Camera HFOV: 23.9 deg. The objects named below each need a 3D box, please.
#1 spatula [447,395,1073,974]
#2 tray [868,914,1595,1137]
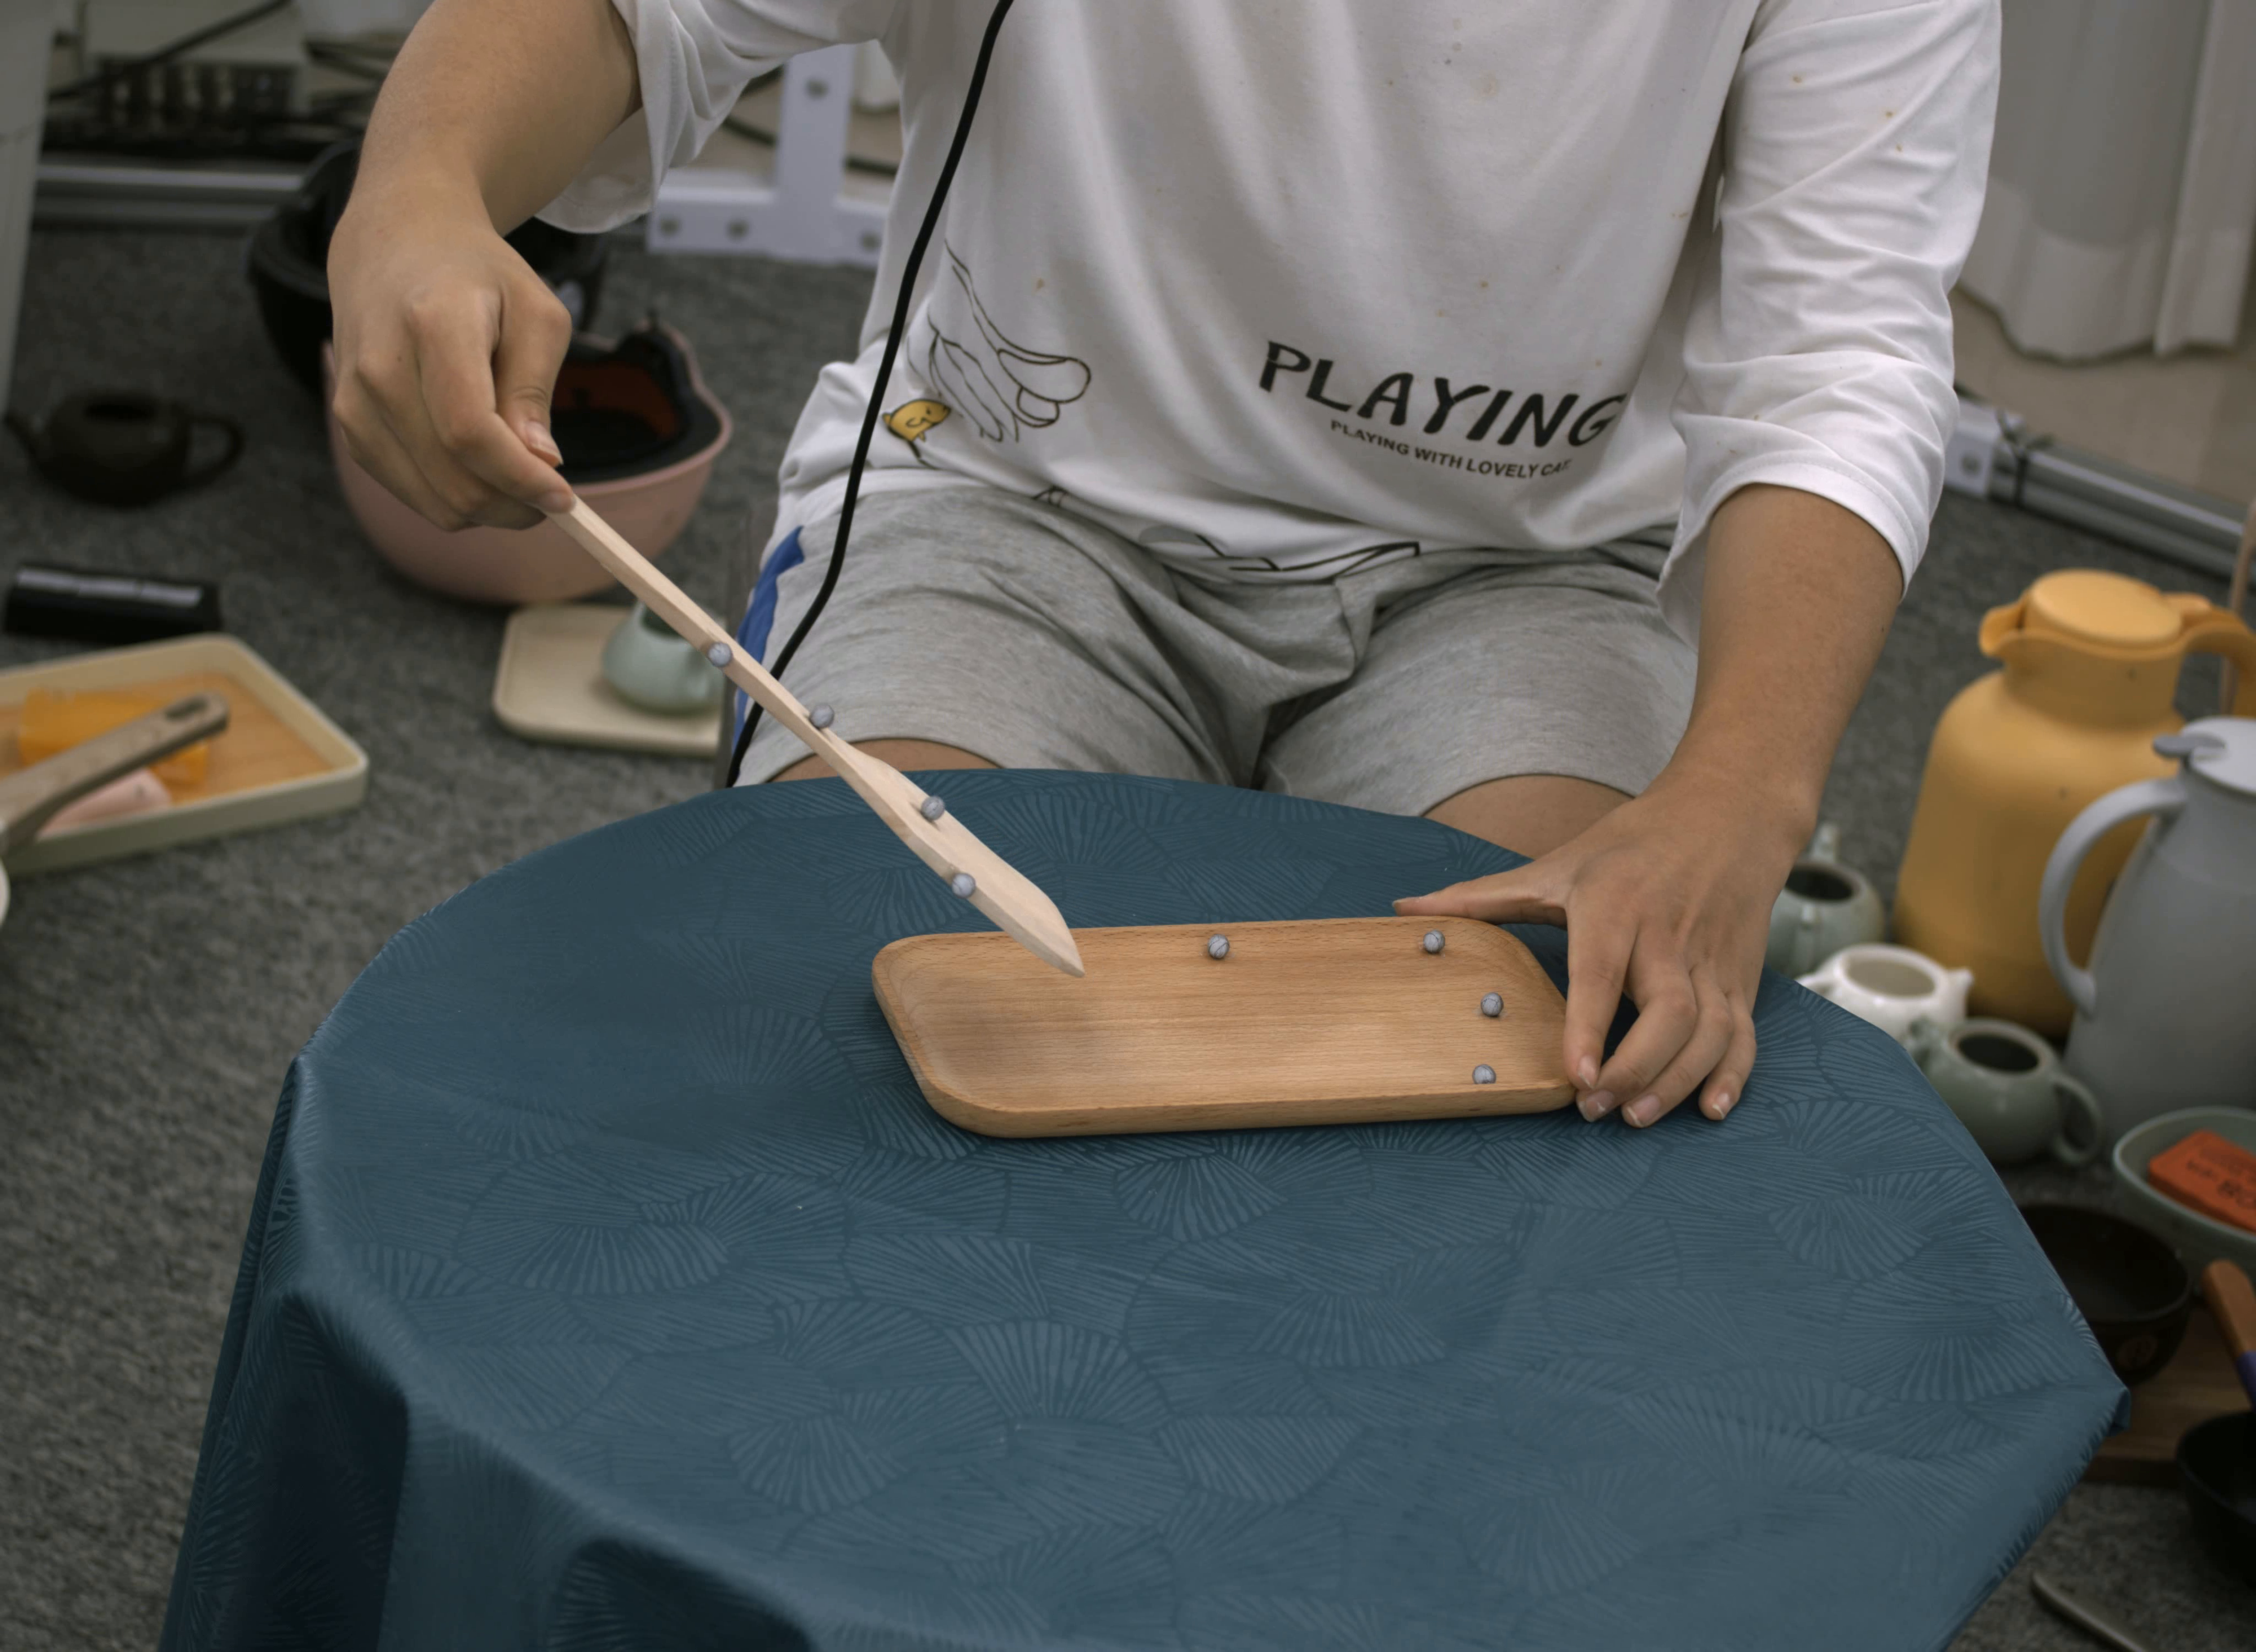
[{"bbox_3d":[-0.124,-0.048,1.808,0.291,0.010,0.073,42,9,-23],"label":"spatula"},{"bbox_3d":[0.036,0.071,1.902,0.249,0.023,0.131,-2,26,-15],"label":"tray"}]
